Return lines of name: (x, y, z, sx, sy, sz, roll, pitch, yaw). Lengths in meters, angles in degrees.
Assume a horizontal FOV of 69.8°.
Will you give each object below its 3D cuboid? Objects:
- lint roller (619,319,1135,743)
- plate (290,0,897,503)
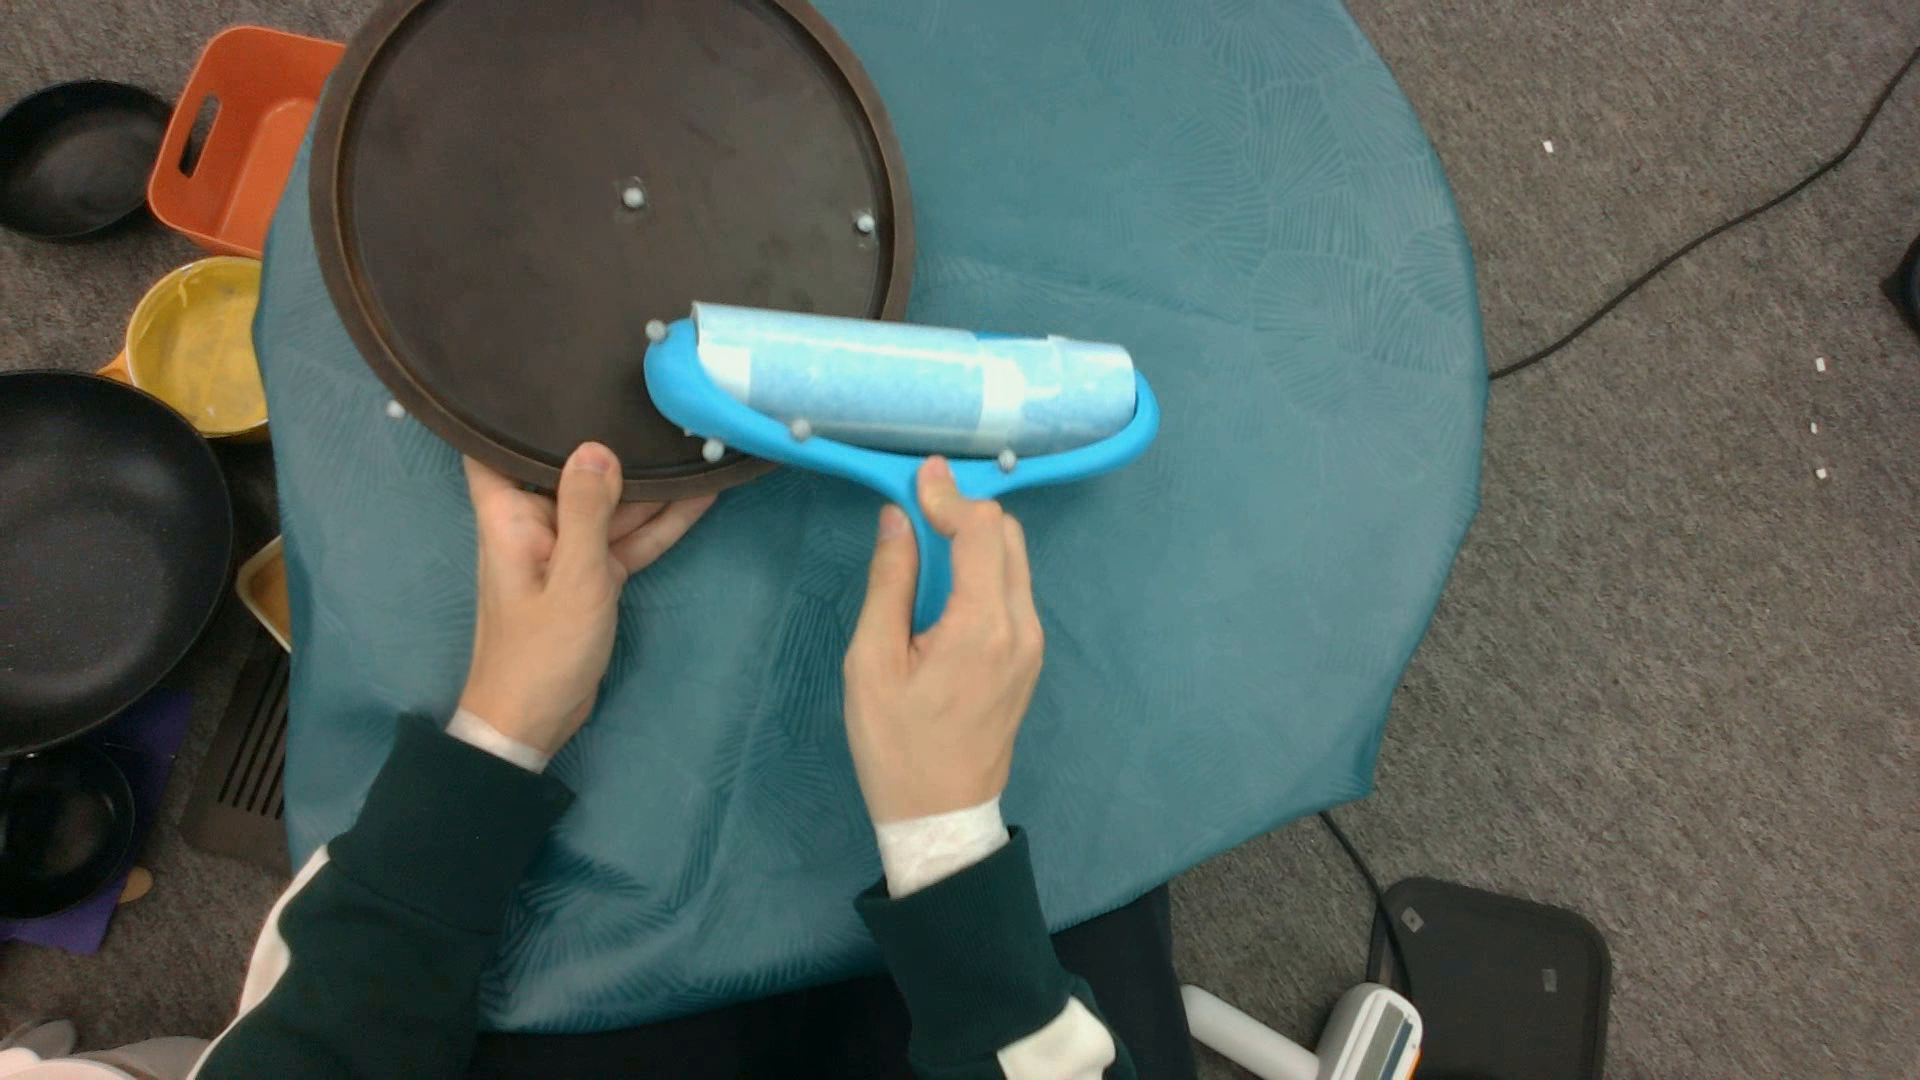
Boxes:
lint roller: (-0.022, -0.009, 0.584, 0.229, 0.067, 0.180, -2, 72, -22)
plate: (-0.153, -0.142, 0.604, 0.255, 0.029, 0.255, 1, 87, -17)
